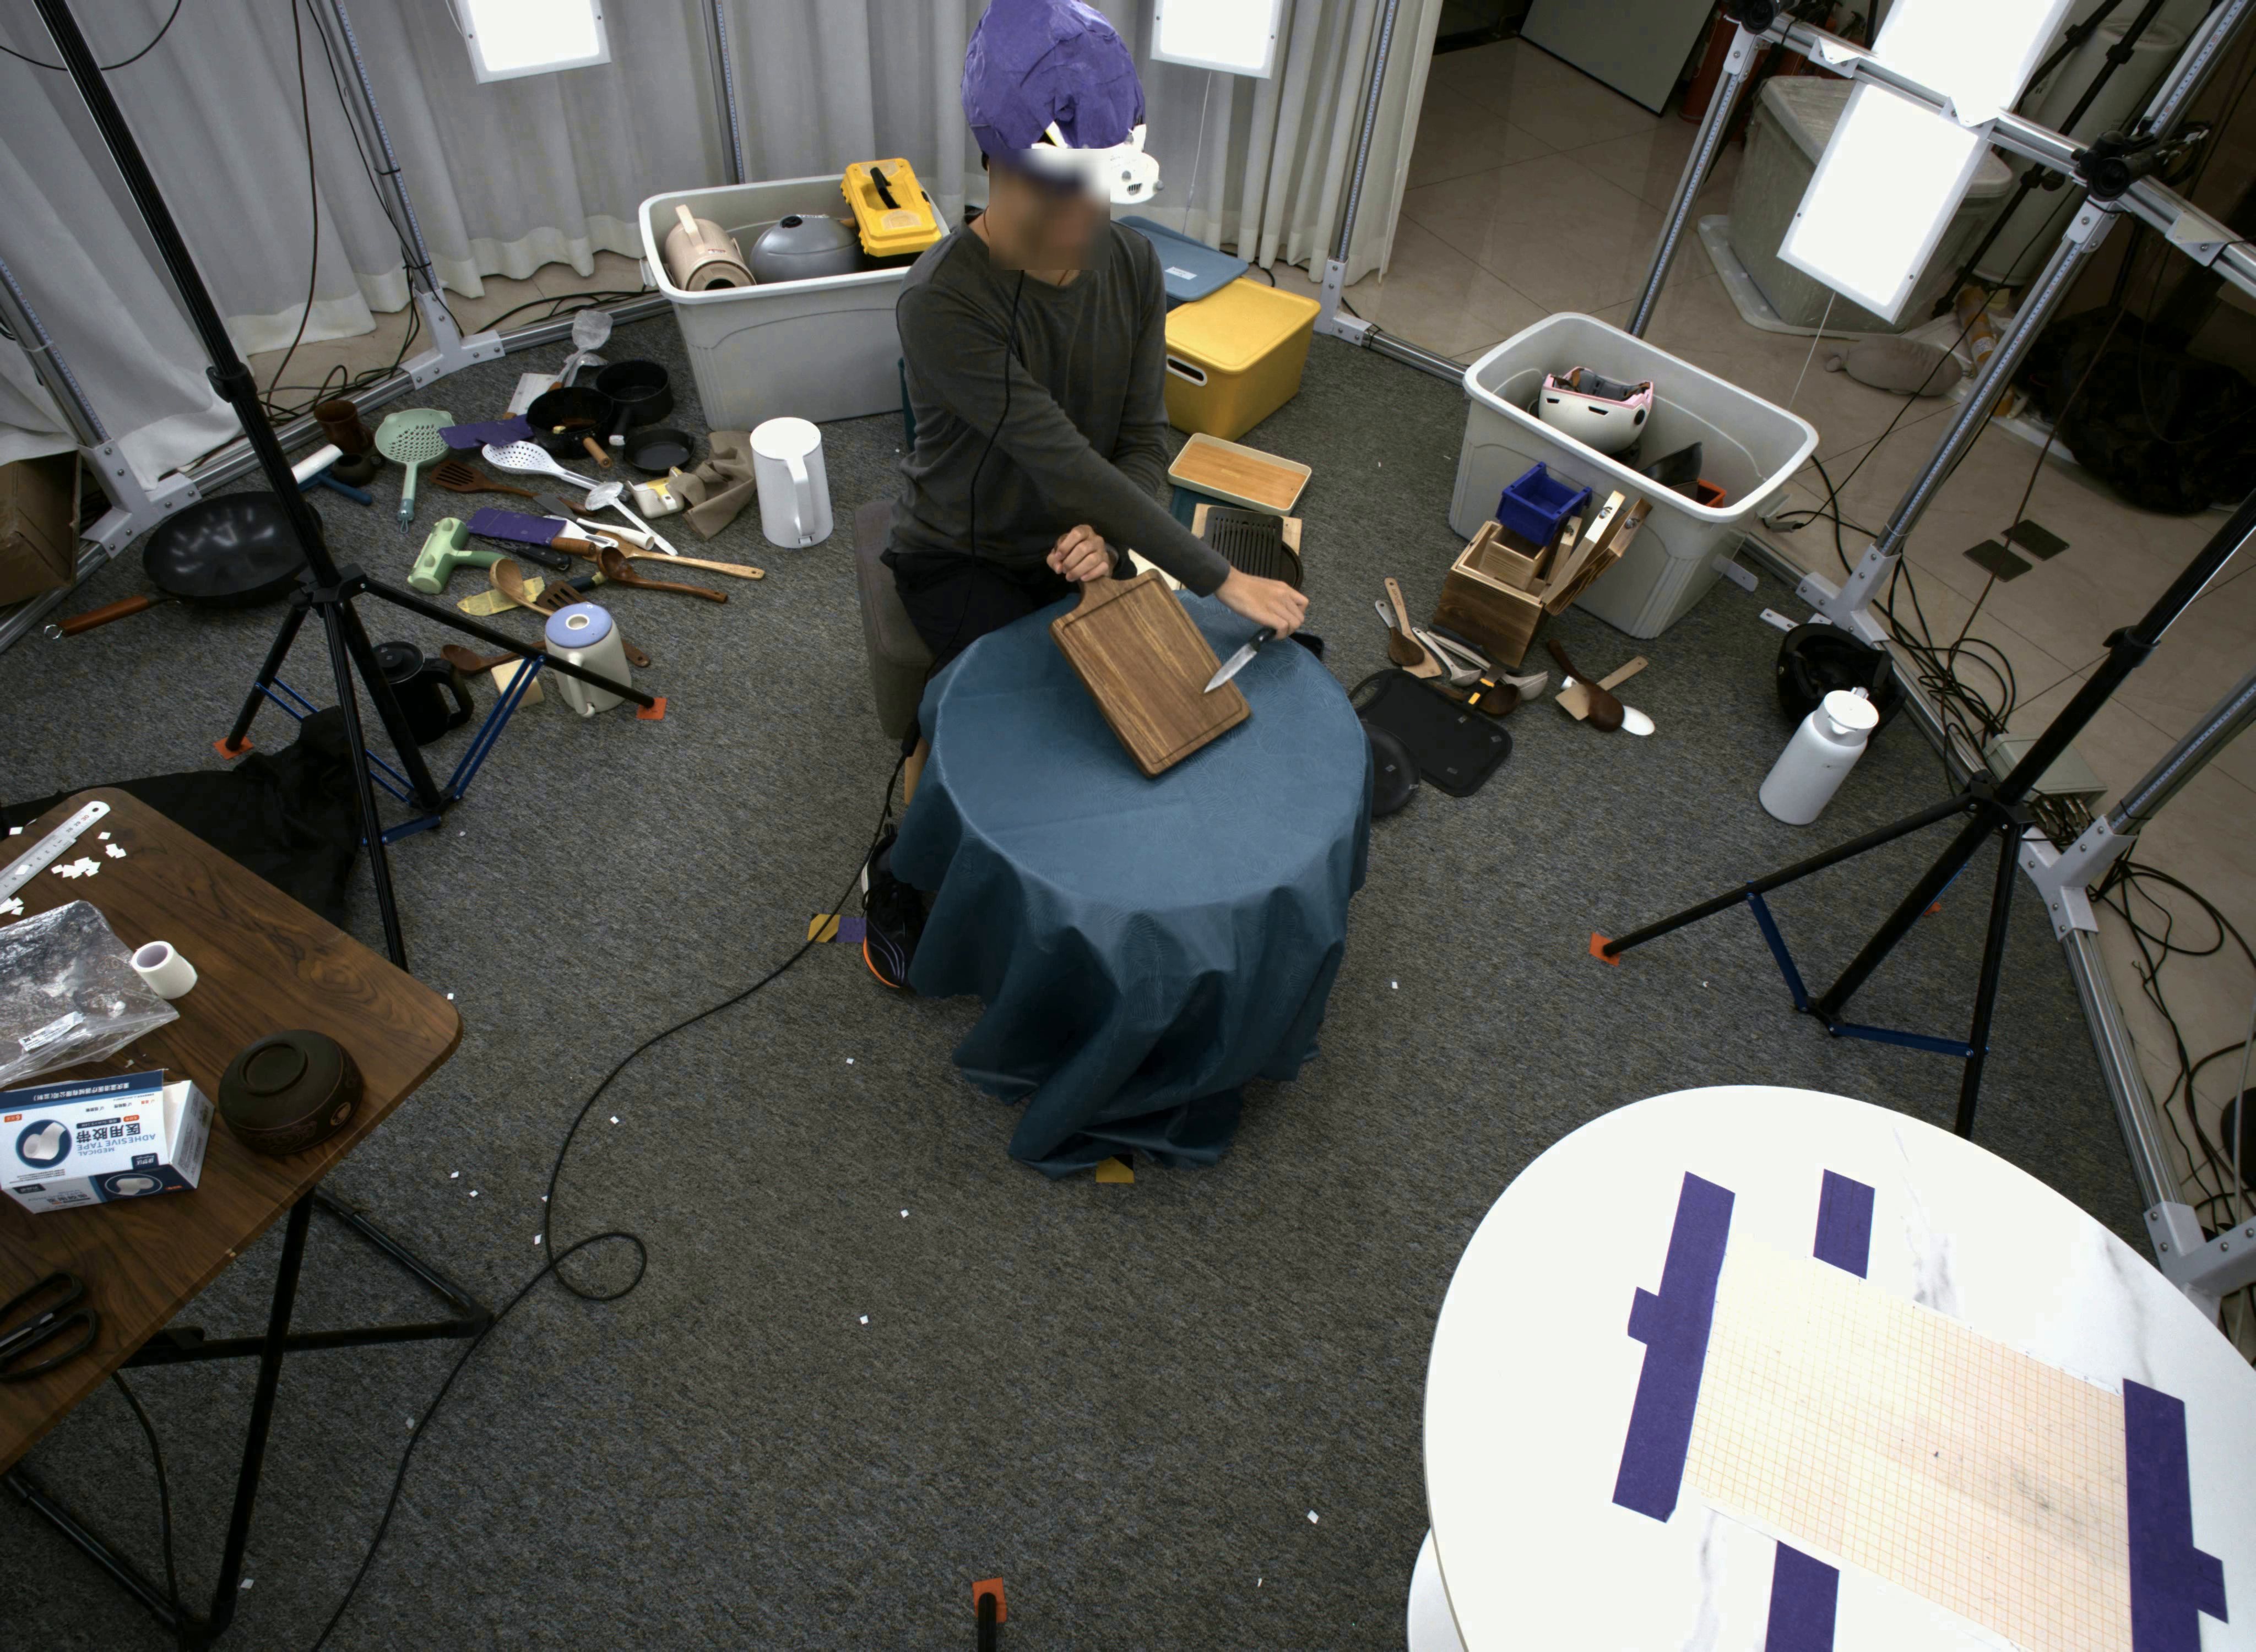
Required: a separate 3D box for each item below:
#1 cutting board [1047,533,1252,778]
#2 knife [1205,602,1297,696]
[{"bbox_3d":[0.005,-0.256,1.771,0.202,0.023,0.353,-33,86,-28],"label":"cutting board"},{"bbox_3d":[0.174,-0.255,1.833,0.024,0.016,0.241,51,56,-12],"label":"knife"}]
